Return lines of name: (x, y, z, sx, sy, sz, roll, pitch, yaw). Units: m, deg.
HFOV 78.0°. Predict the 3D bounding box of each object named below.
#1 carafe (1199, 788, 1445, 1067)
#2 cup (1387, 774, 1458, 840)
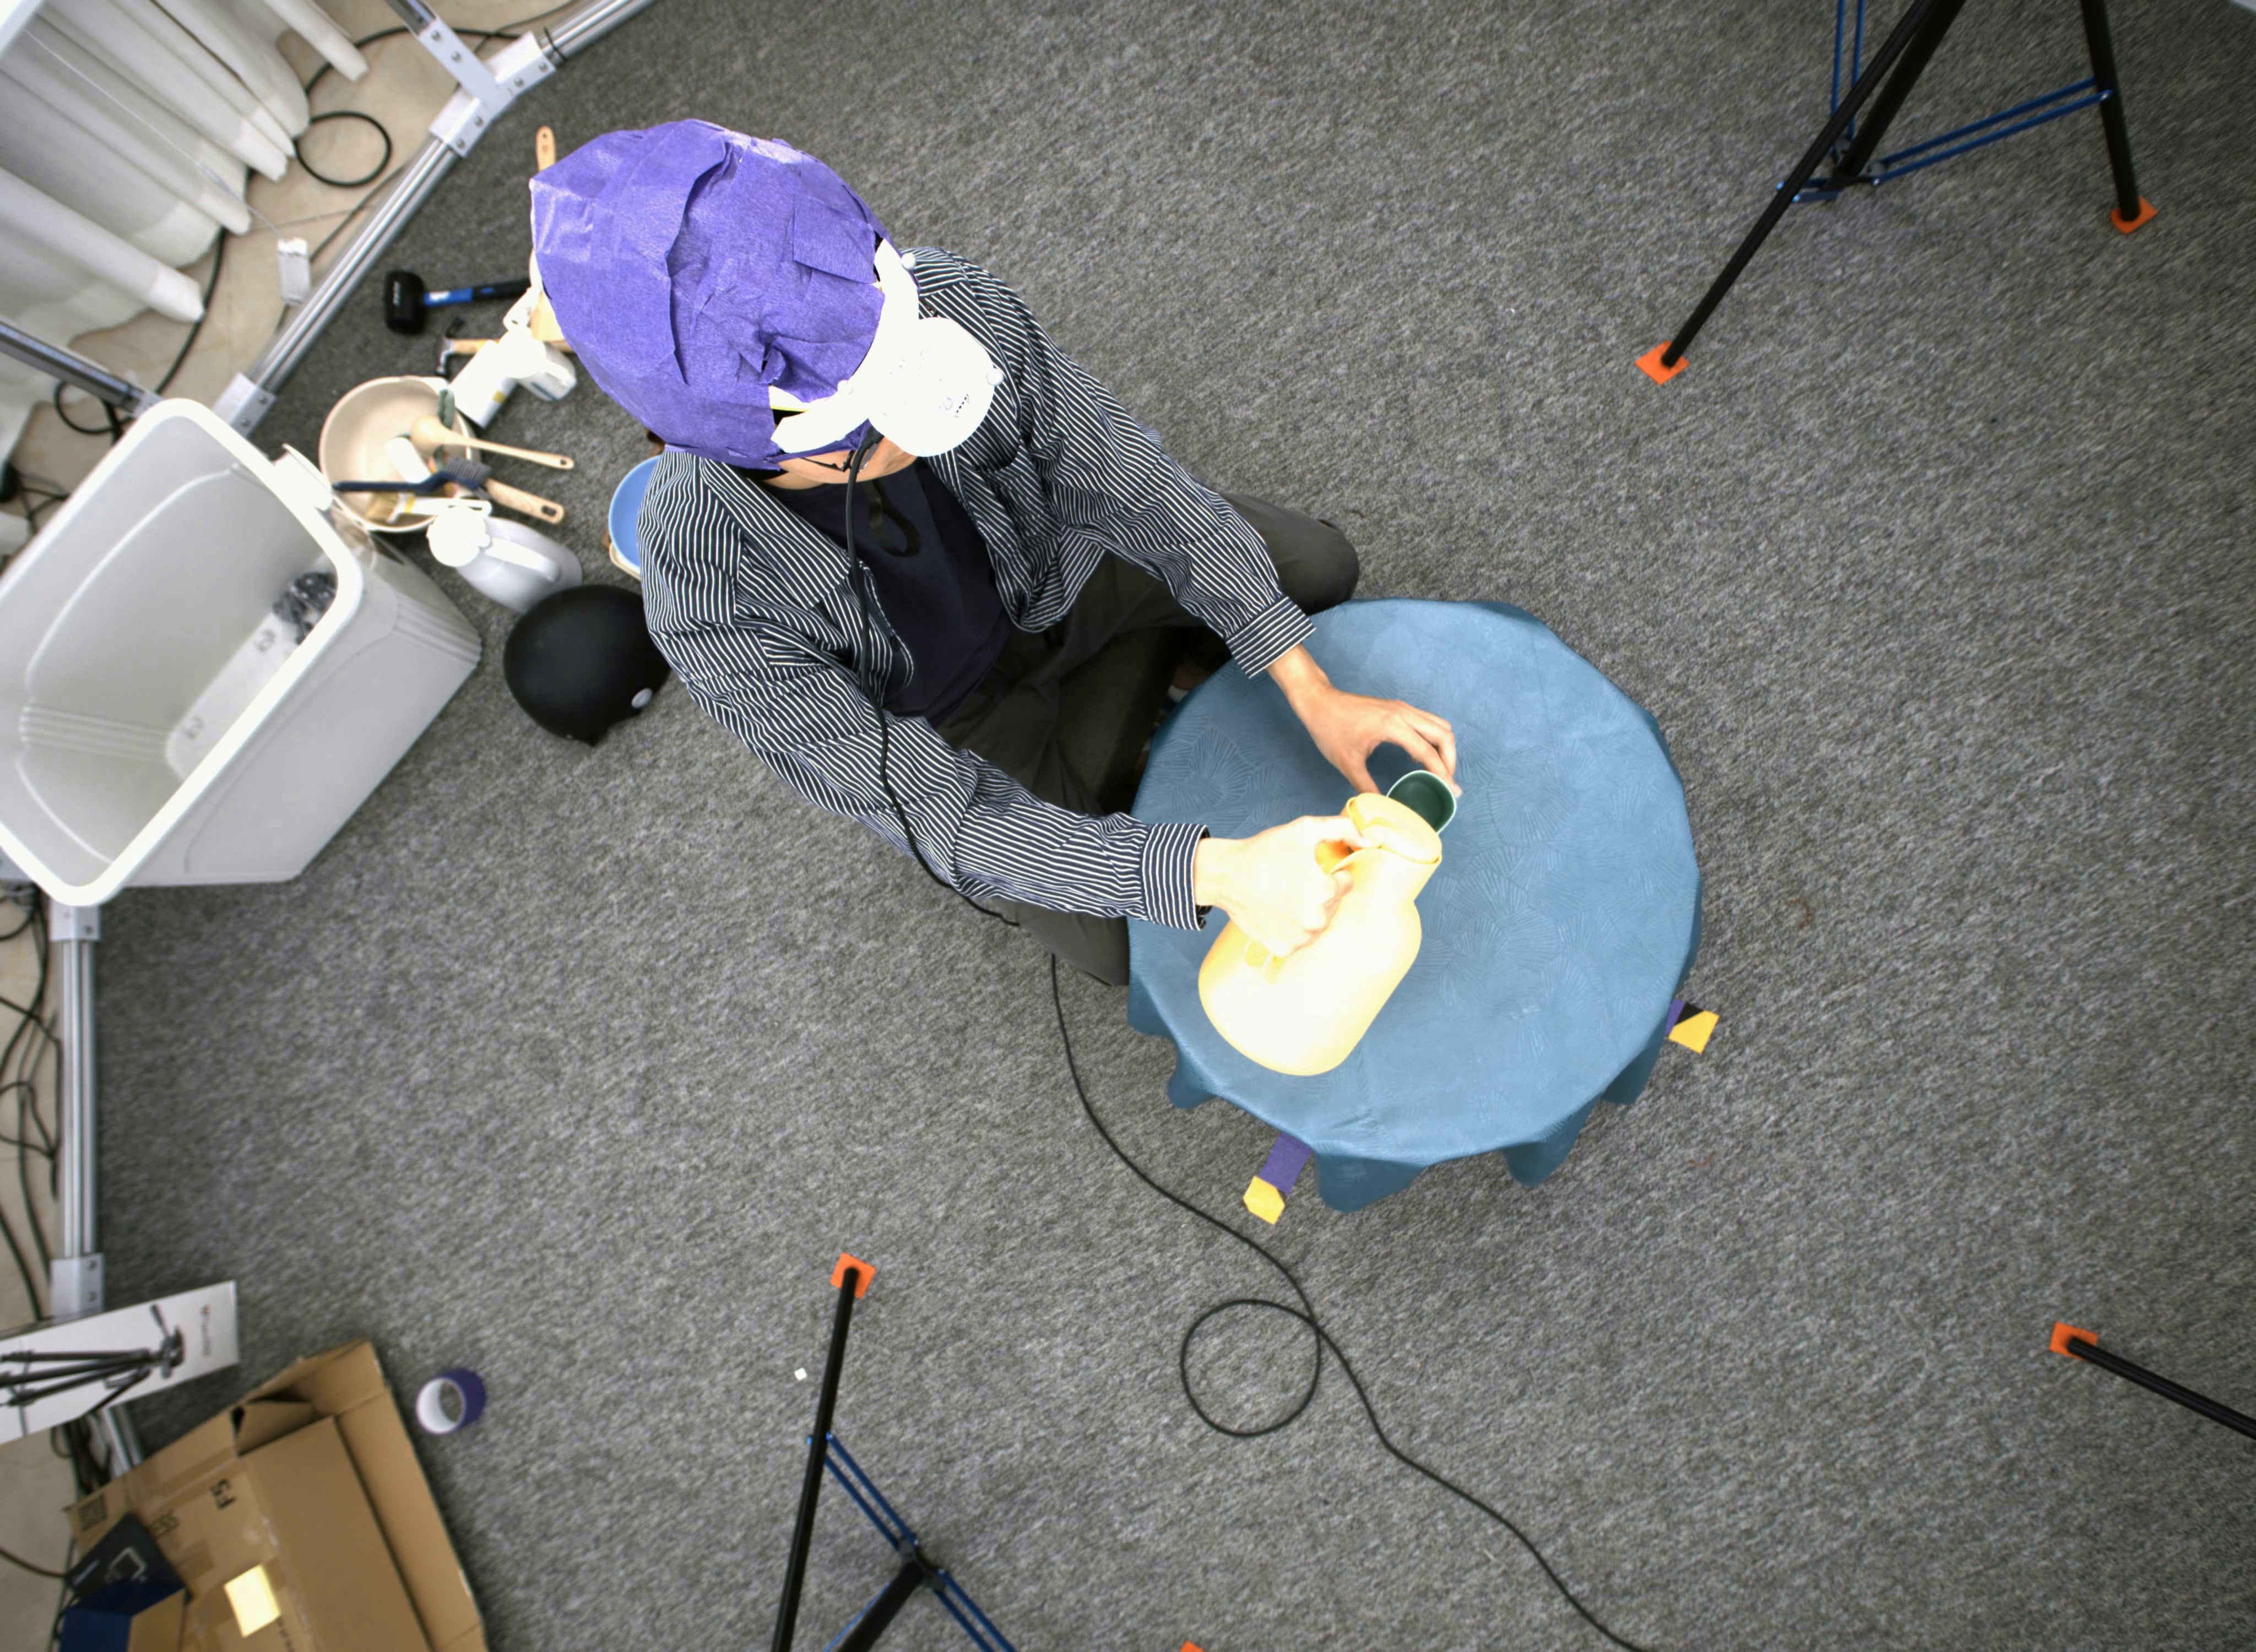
carafe: (0.173, 0.089, 1.255, 0.162, 0.200, 0.266, 43, 121, 23)
cup: (0.283, -0.020, 1.349, 0.067, 0.131, 0.067, 0, 92, 9)
